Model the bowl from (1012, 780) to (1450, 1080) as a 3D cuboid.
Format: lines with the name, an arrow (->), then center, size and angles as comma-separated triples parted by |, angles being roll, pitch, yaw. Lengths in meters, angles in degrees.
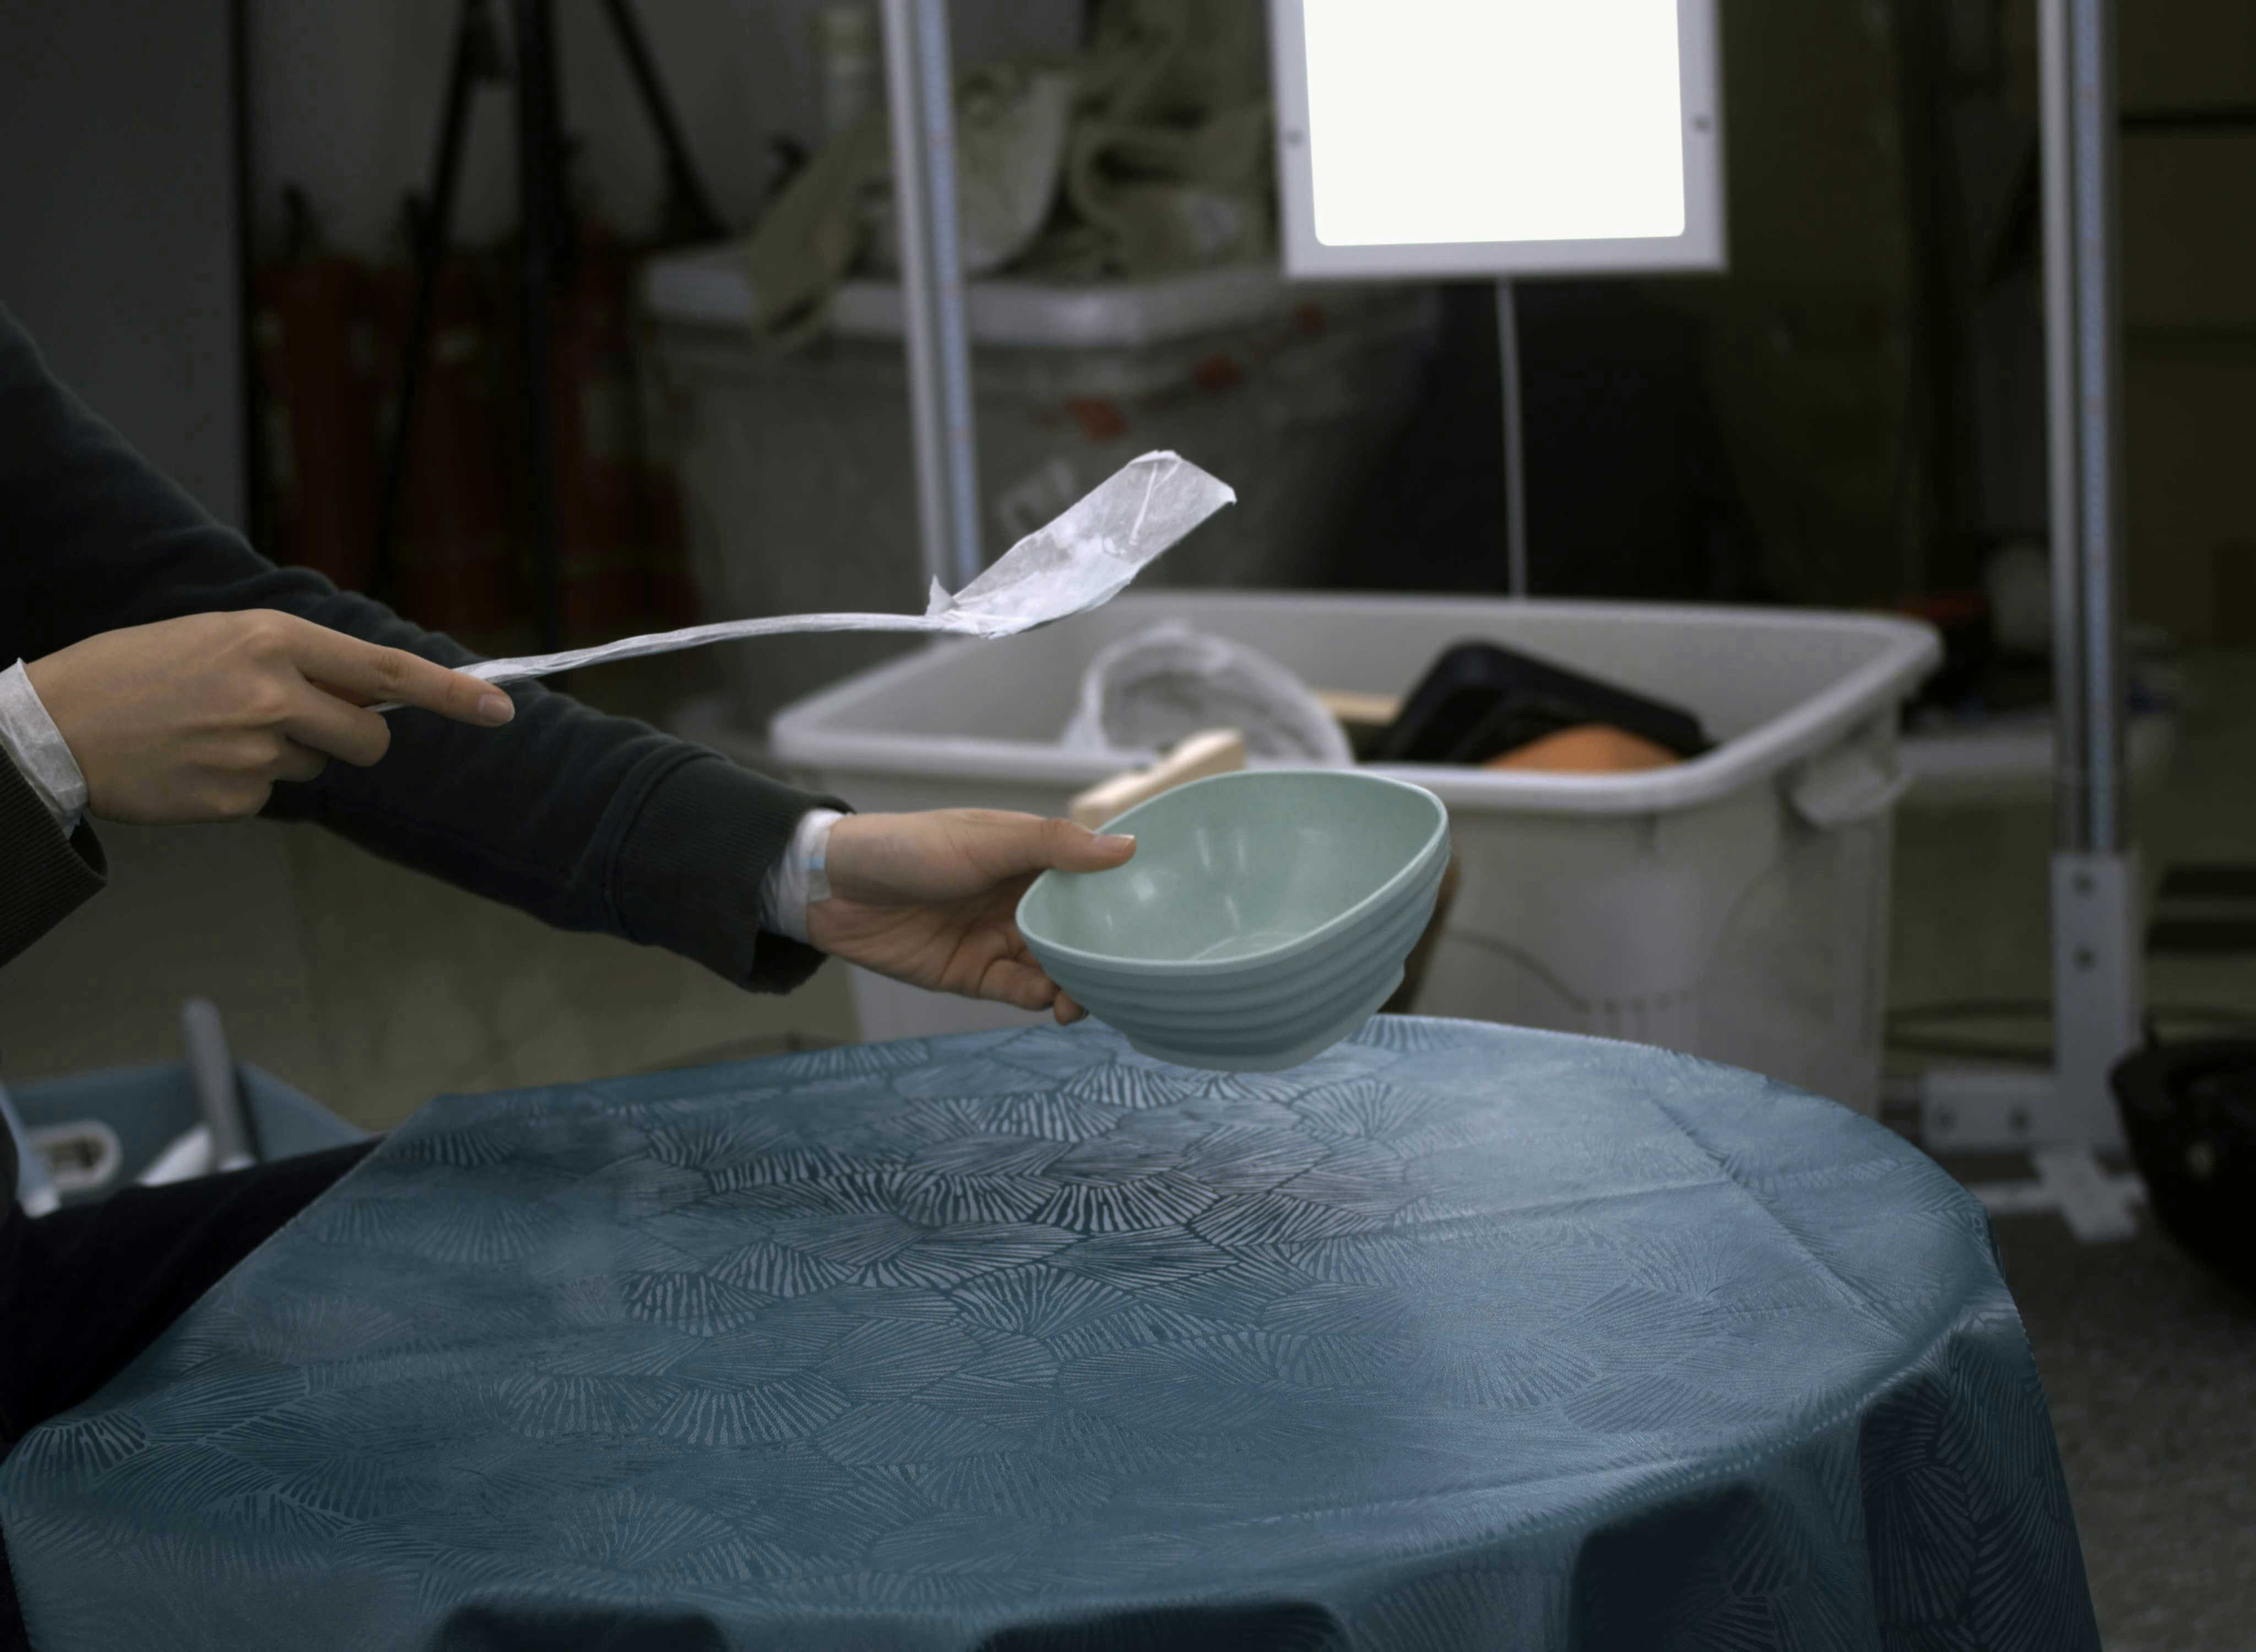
bowl -> 0.040, 0.040, 1.868 | 0.151, 0.059, 0.151 | -11, 23, 4

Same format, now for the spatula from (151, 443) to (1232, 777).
spatula -> -0.141, -0.067, 1.803 | 0.361, 0.045, 0.099 | -11, 19, -9
